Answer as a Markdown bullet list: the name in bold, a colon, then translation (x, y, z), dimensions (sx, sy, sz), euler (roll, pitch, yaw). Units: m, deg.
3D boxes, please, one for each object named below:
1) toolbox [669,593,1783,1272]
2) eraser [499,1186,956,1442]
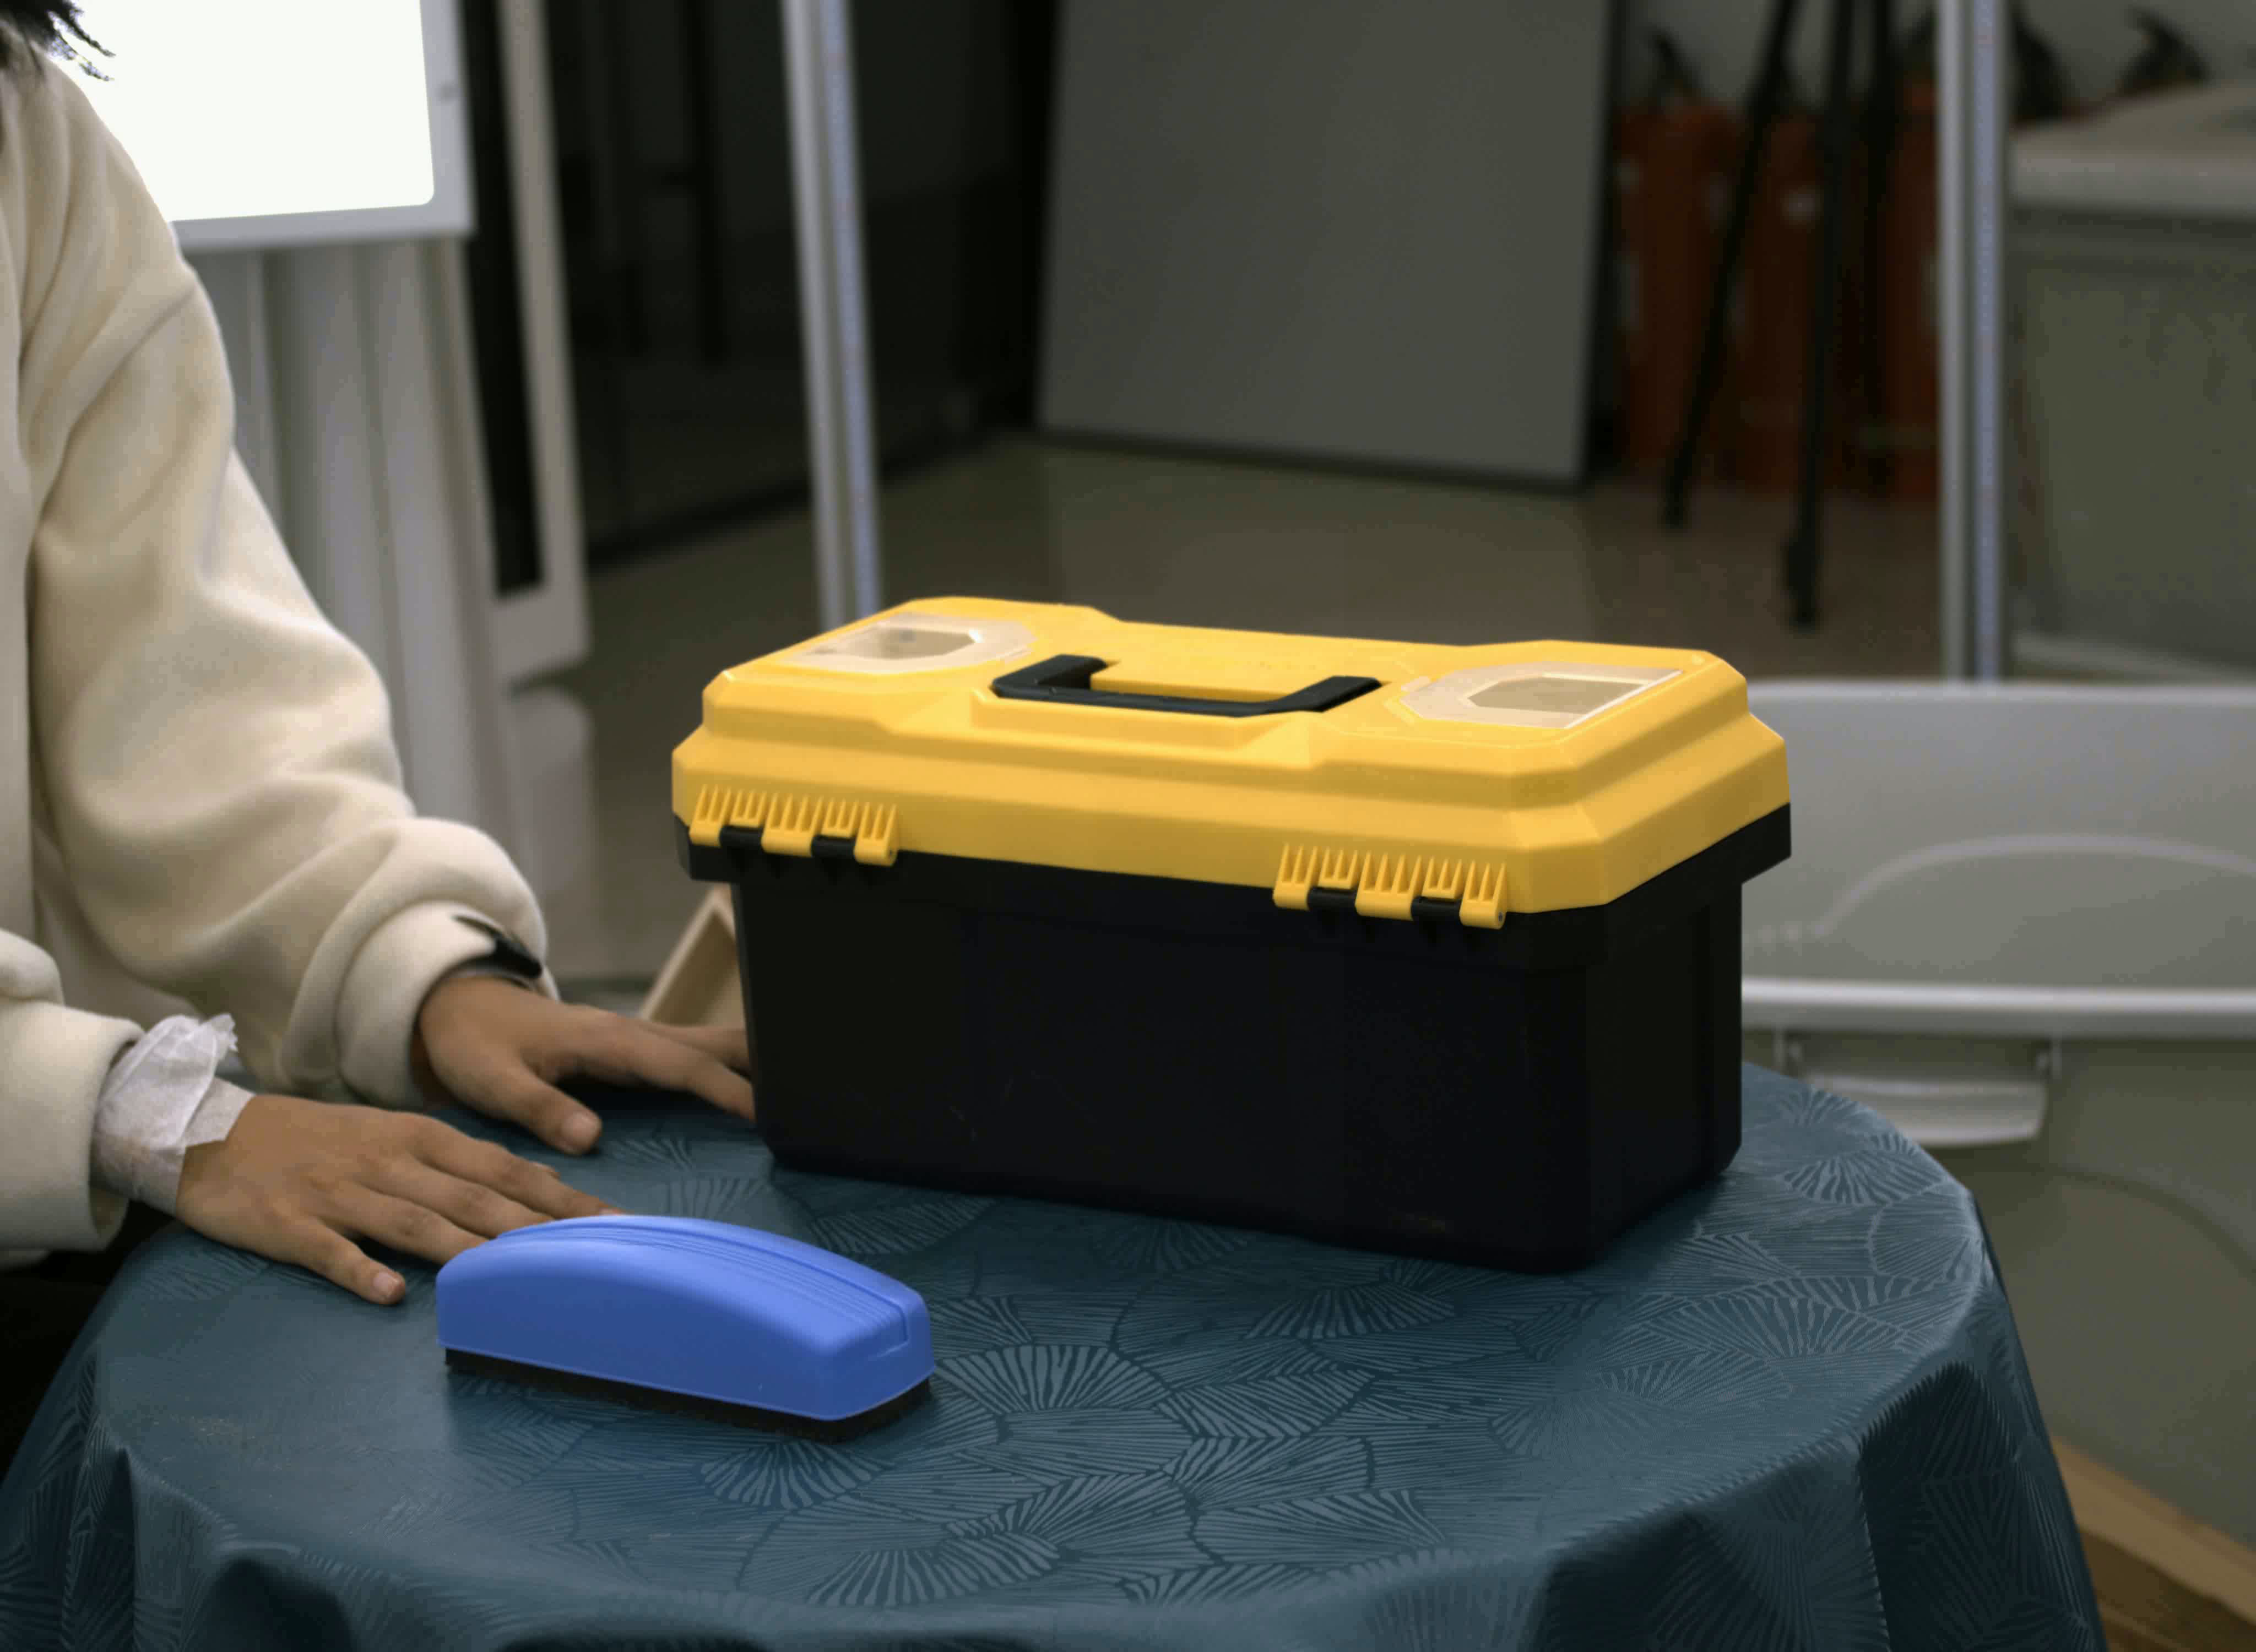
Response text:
- **toolbox**: translation (0.032, 0.029, 1.769), dimensions (0.353, 0.174, 0.178), euler (5, 17, 34)
- **eraser**: translation (-0.122, 0.140, 1.620), dimensions (0.164, 0.048, 0.053), euler (12, 23, 44)
